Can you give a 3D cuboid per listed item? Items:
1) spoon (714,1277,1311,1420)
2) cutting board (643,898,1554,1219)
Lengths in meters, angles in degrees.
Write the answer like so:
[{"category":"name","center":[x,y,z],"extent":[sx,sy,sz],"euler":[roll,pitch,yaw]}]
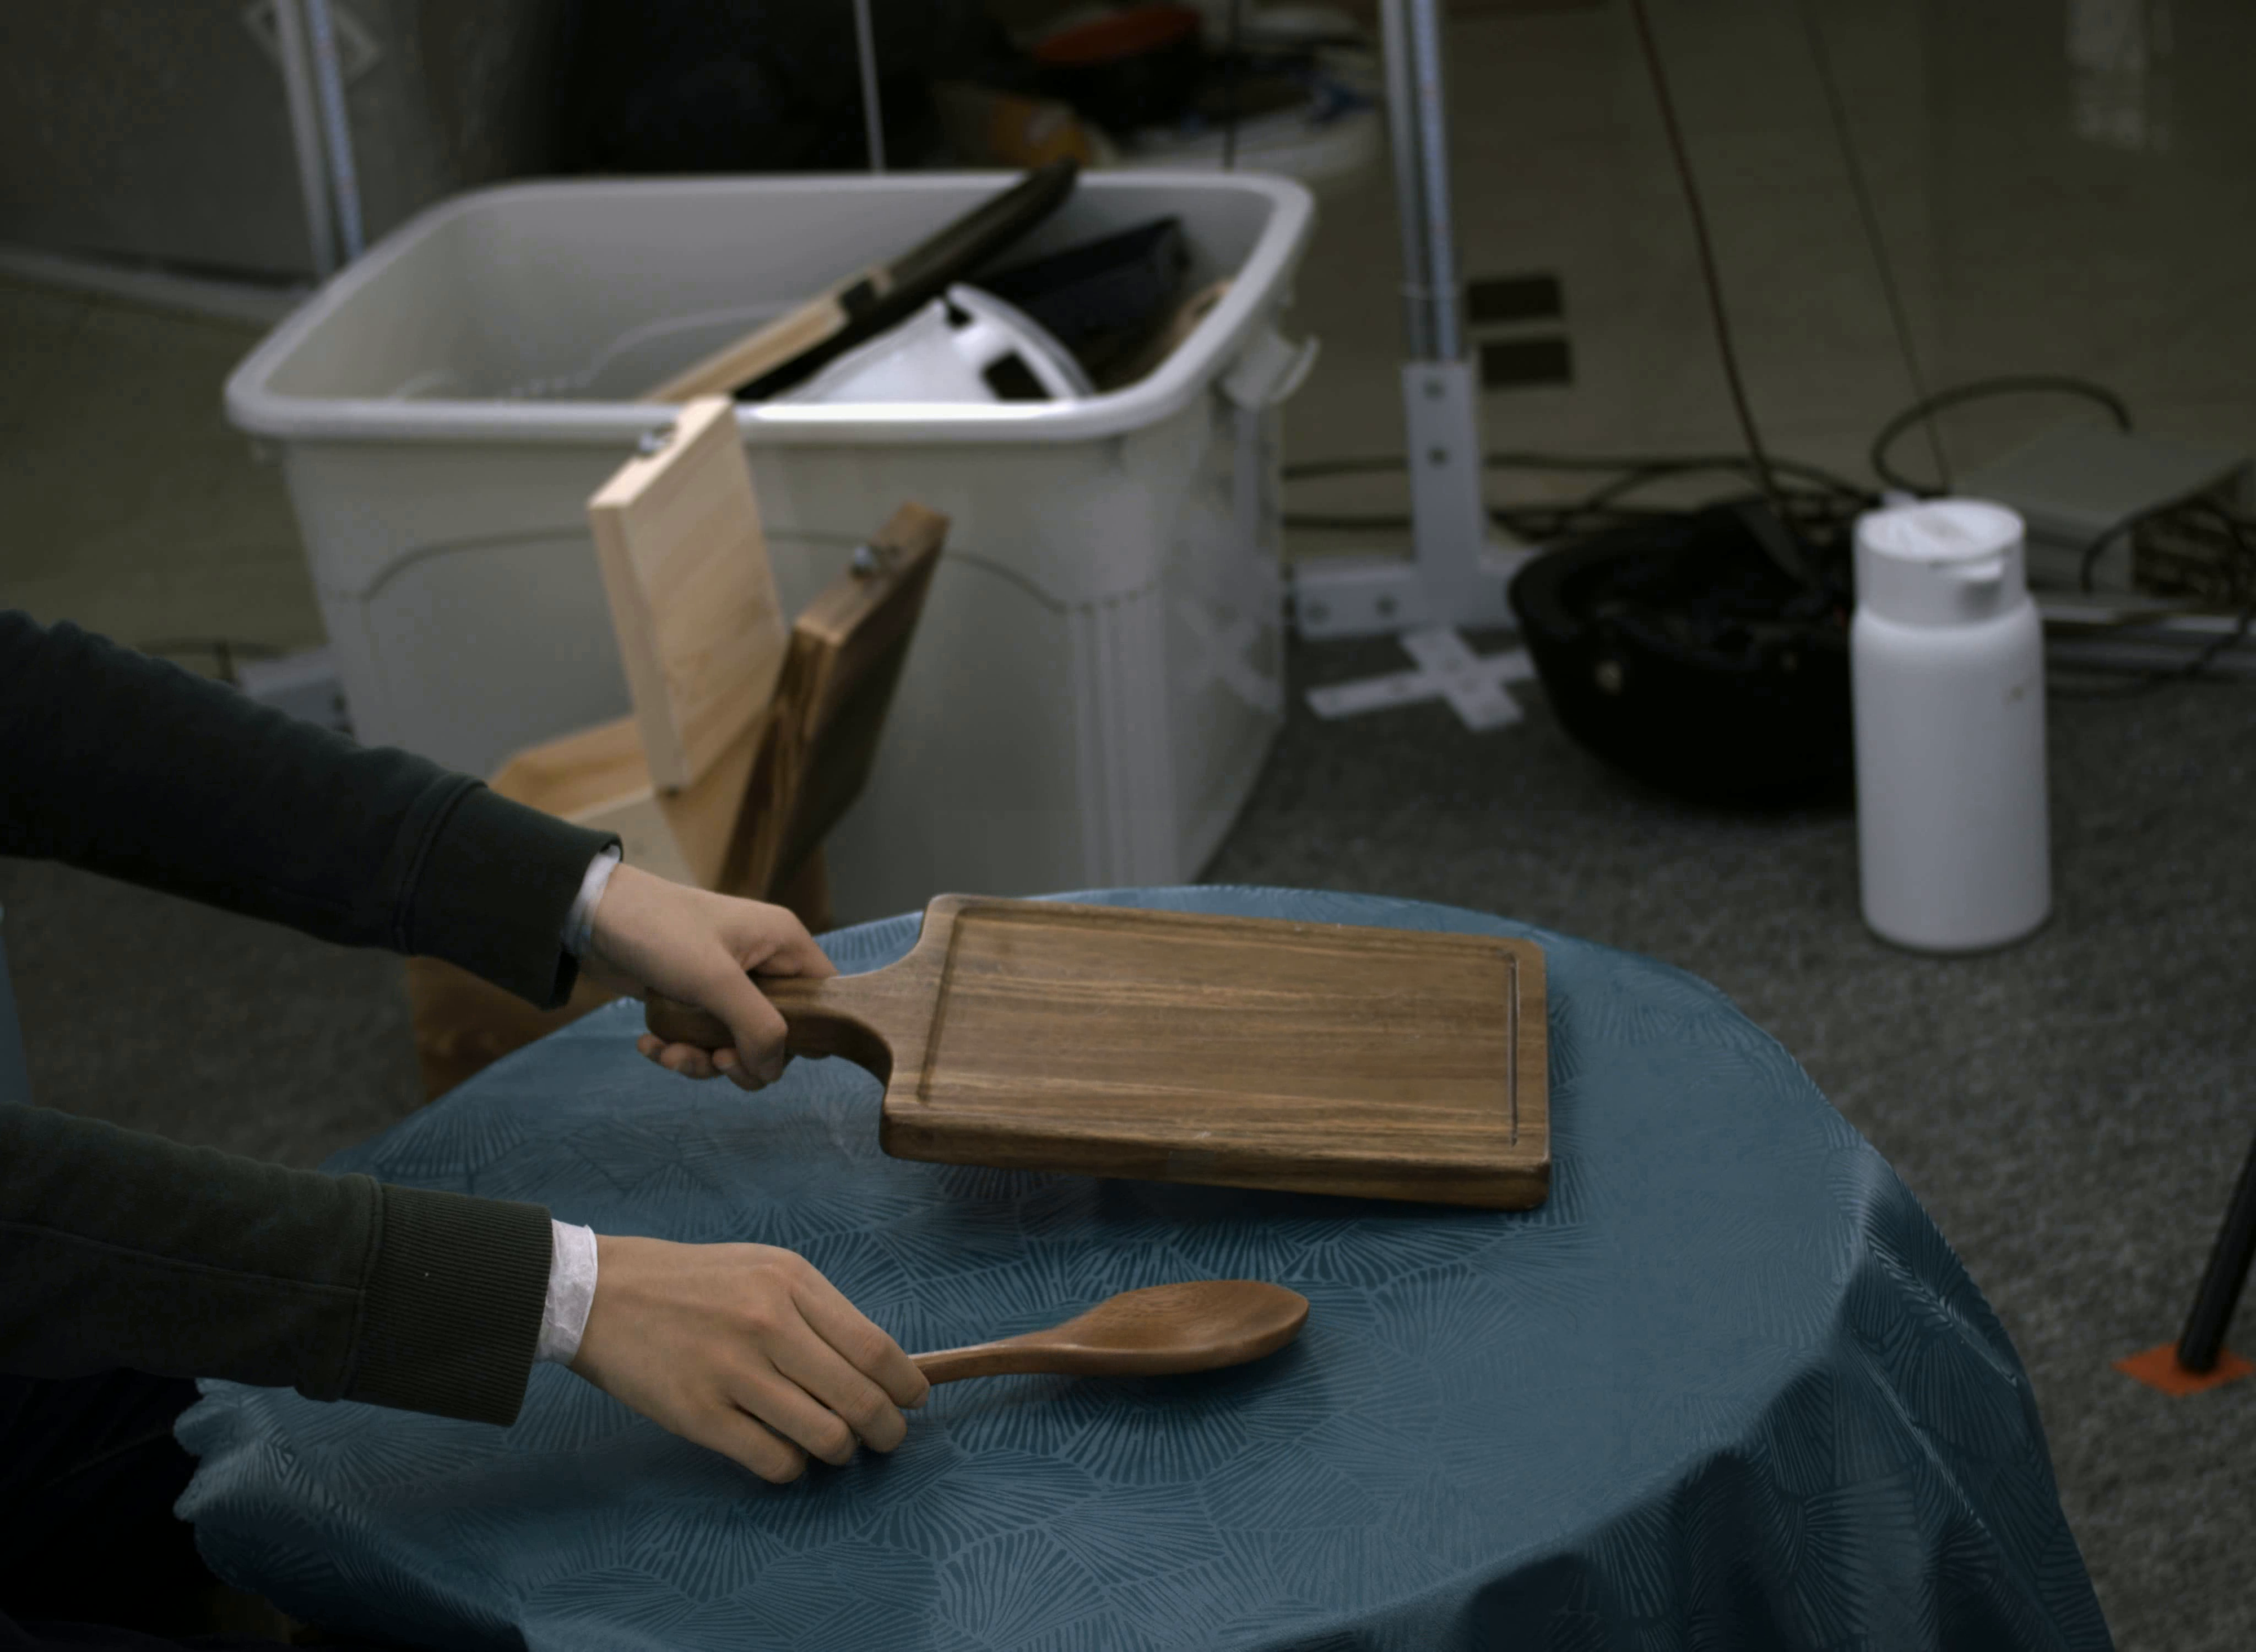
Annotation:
[{"category":"spoon","center":[-0.040,0.190,2.017],"extent":[0.215,0.017,0.074],"euler":[-7,20,-11]},{"category":"cutting board","center":[-0.012,0.084,2.191],"extent":[0.351,0.023,0.198],"euler":[4,27,1]}]
